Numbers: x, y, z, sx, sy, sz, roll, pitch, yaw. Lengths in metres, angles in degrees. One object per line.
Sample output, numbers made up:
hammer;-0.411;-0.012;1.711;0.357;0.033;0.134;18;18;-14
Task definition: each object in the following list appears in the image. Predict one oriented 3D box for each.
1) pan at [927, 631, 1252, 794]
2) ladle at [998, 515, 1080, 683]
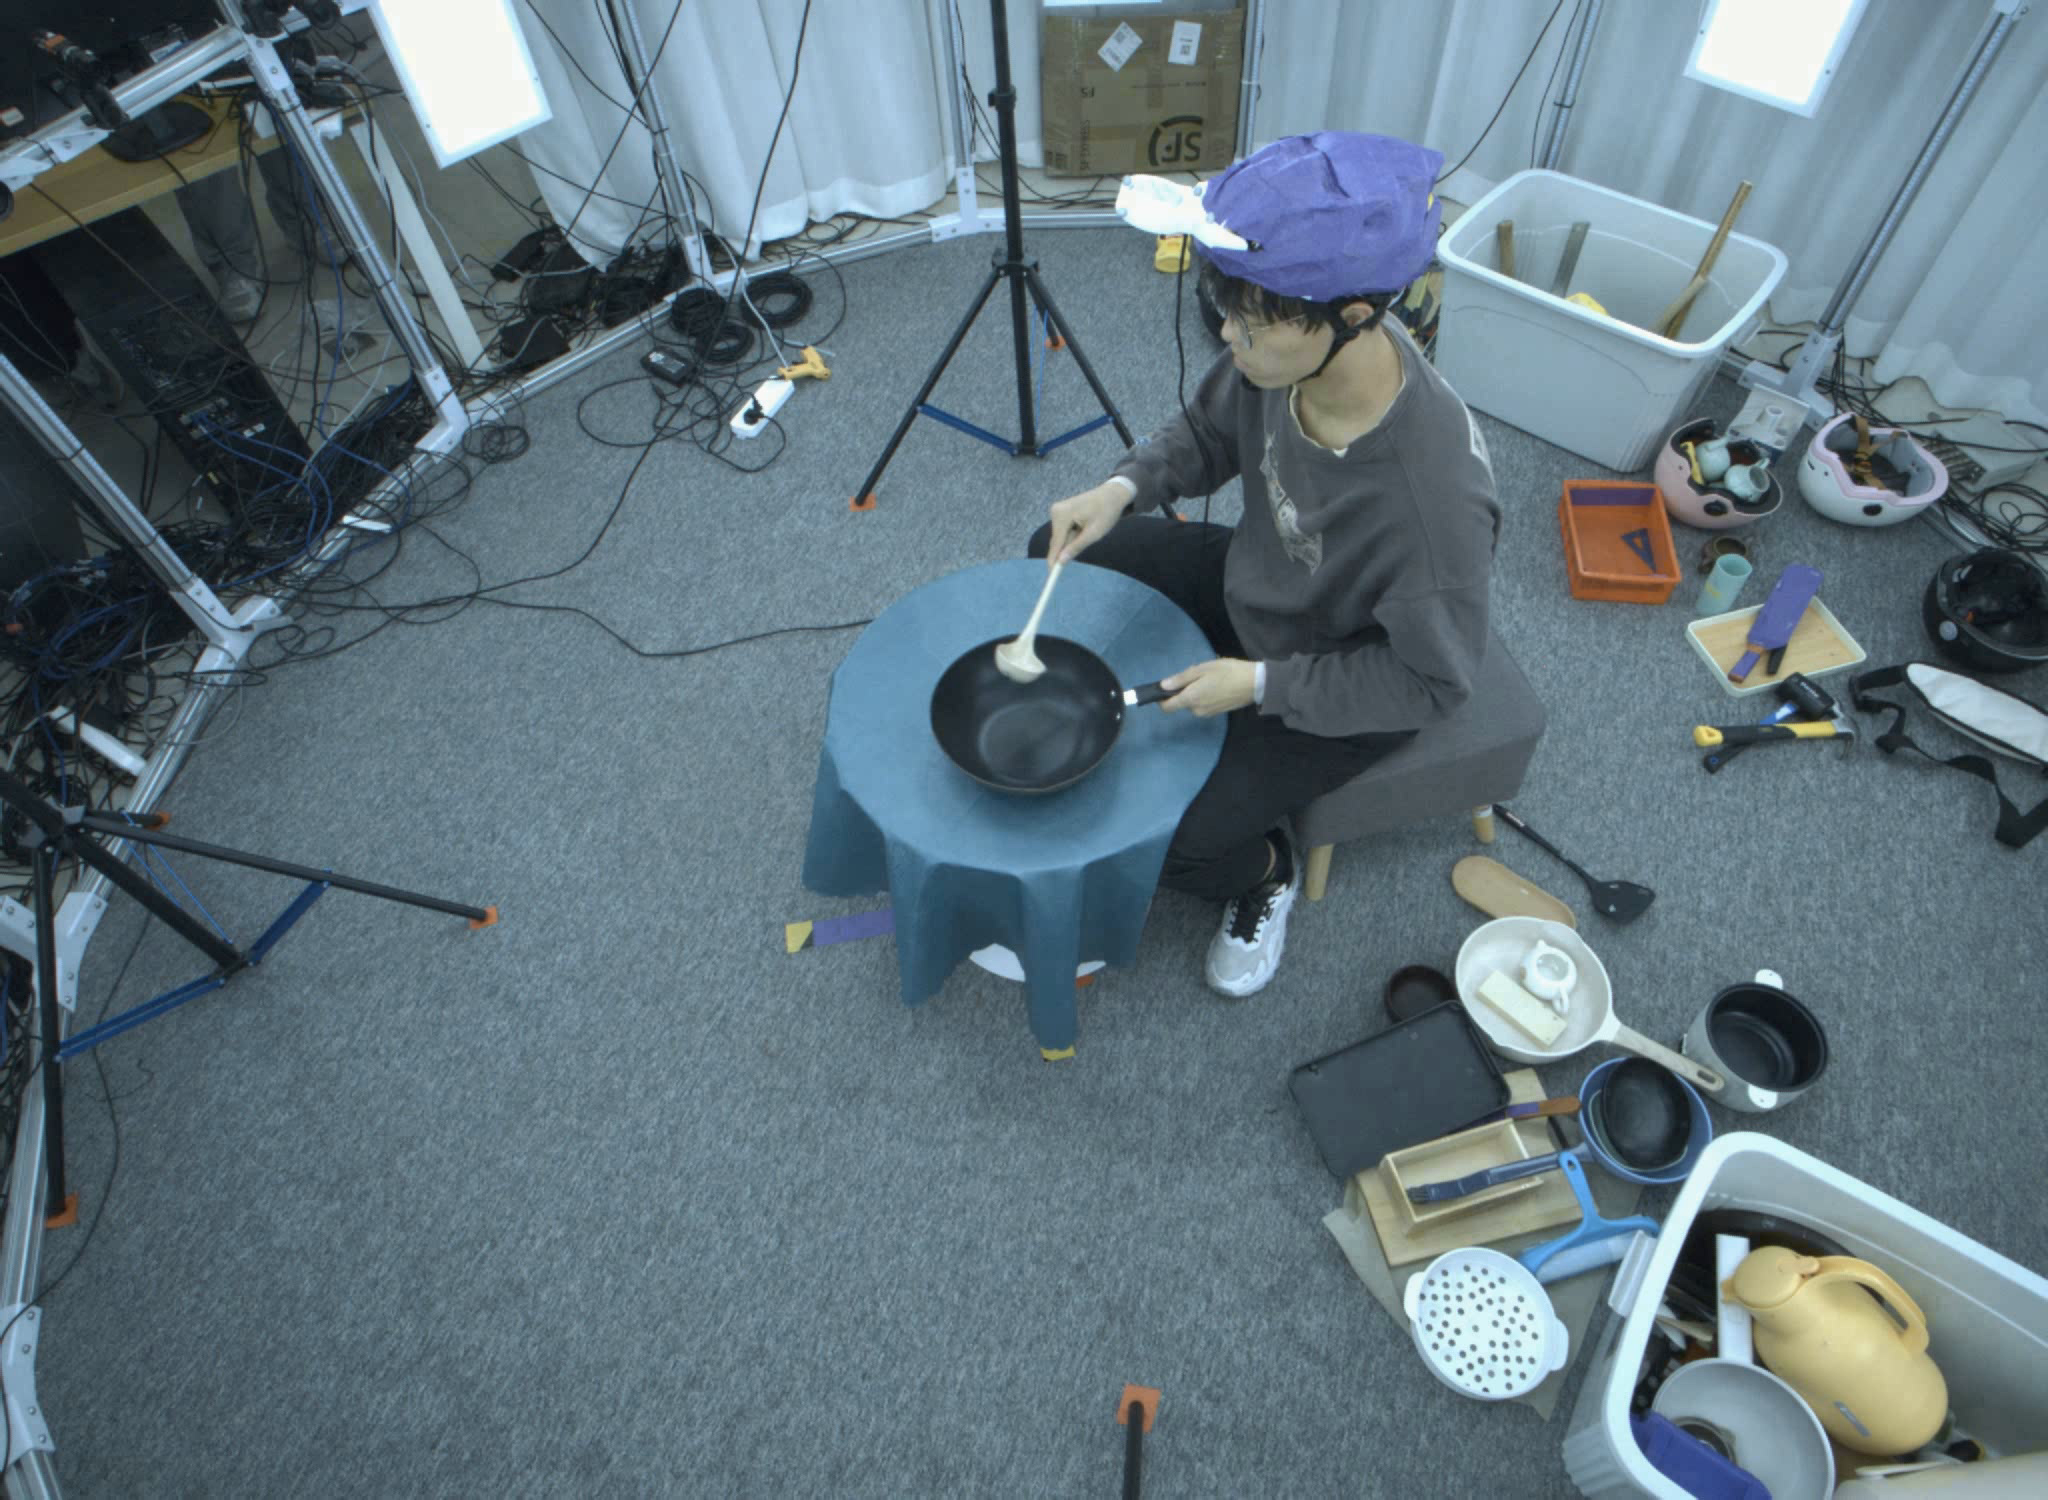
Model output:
pan;0.095;-0.052;1.769;0.465;0.088;0.284;-7;54;-6
ladle;0.032;-0.217;1.712;0.072;0.072;0.254;20;88;-5
